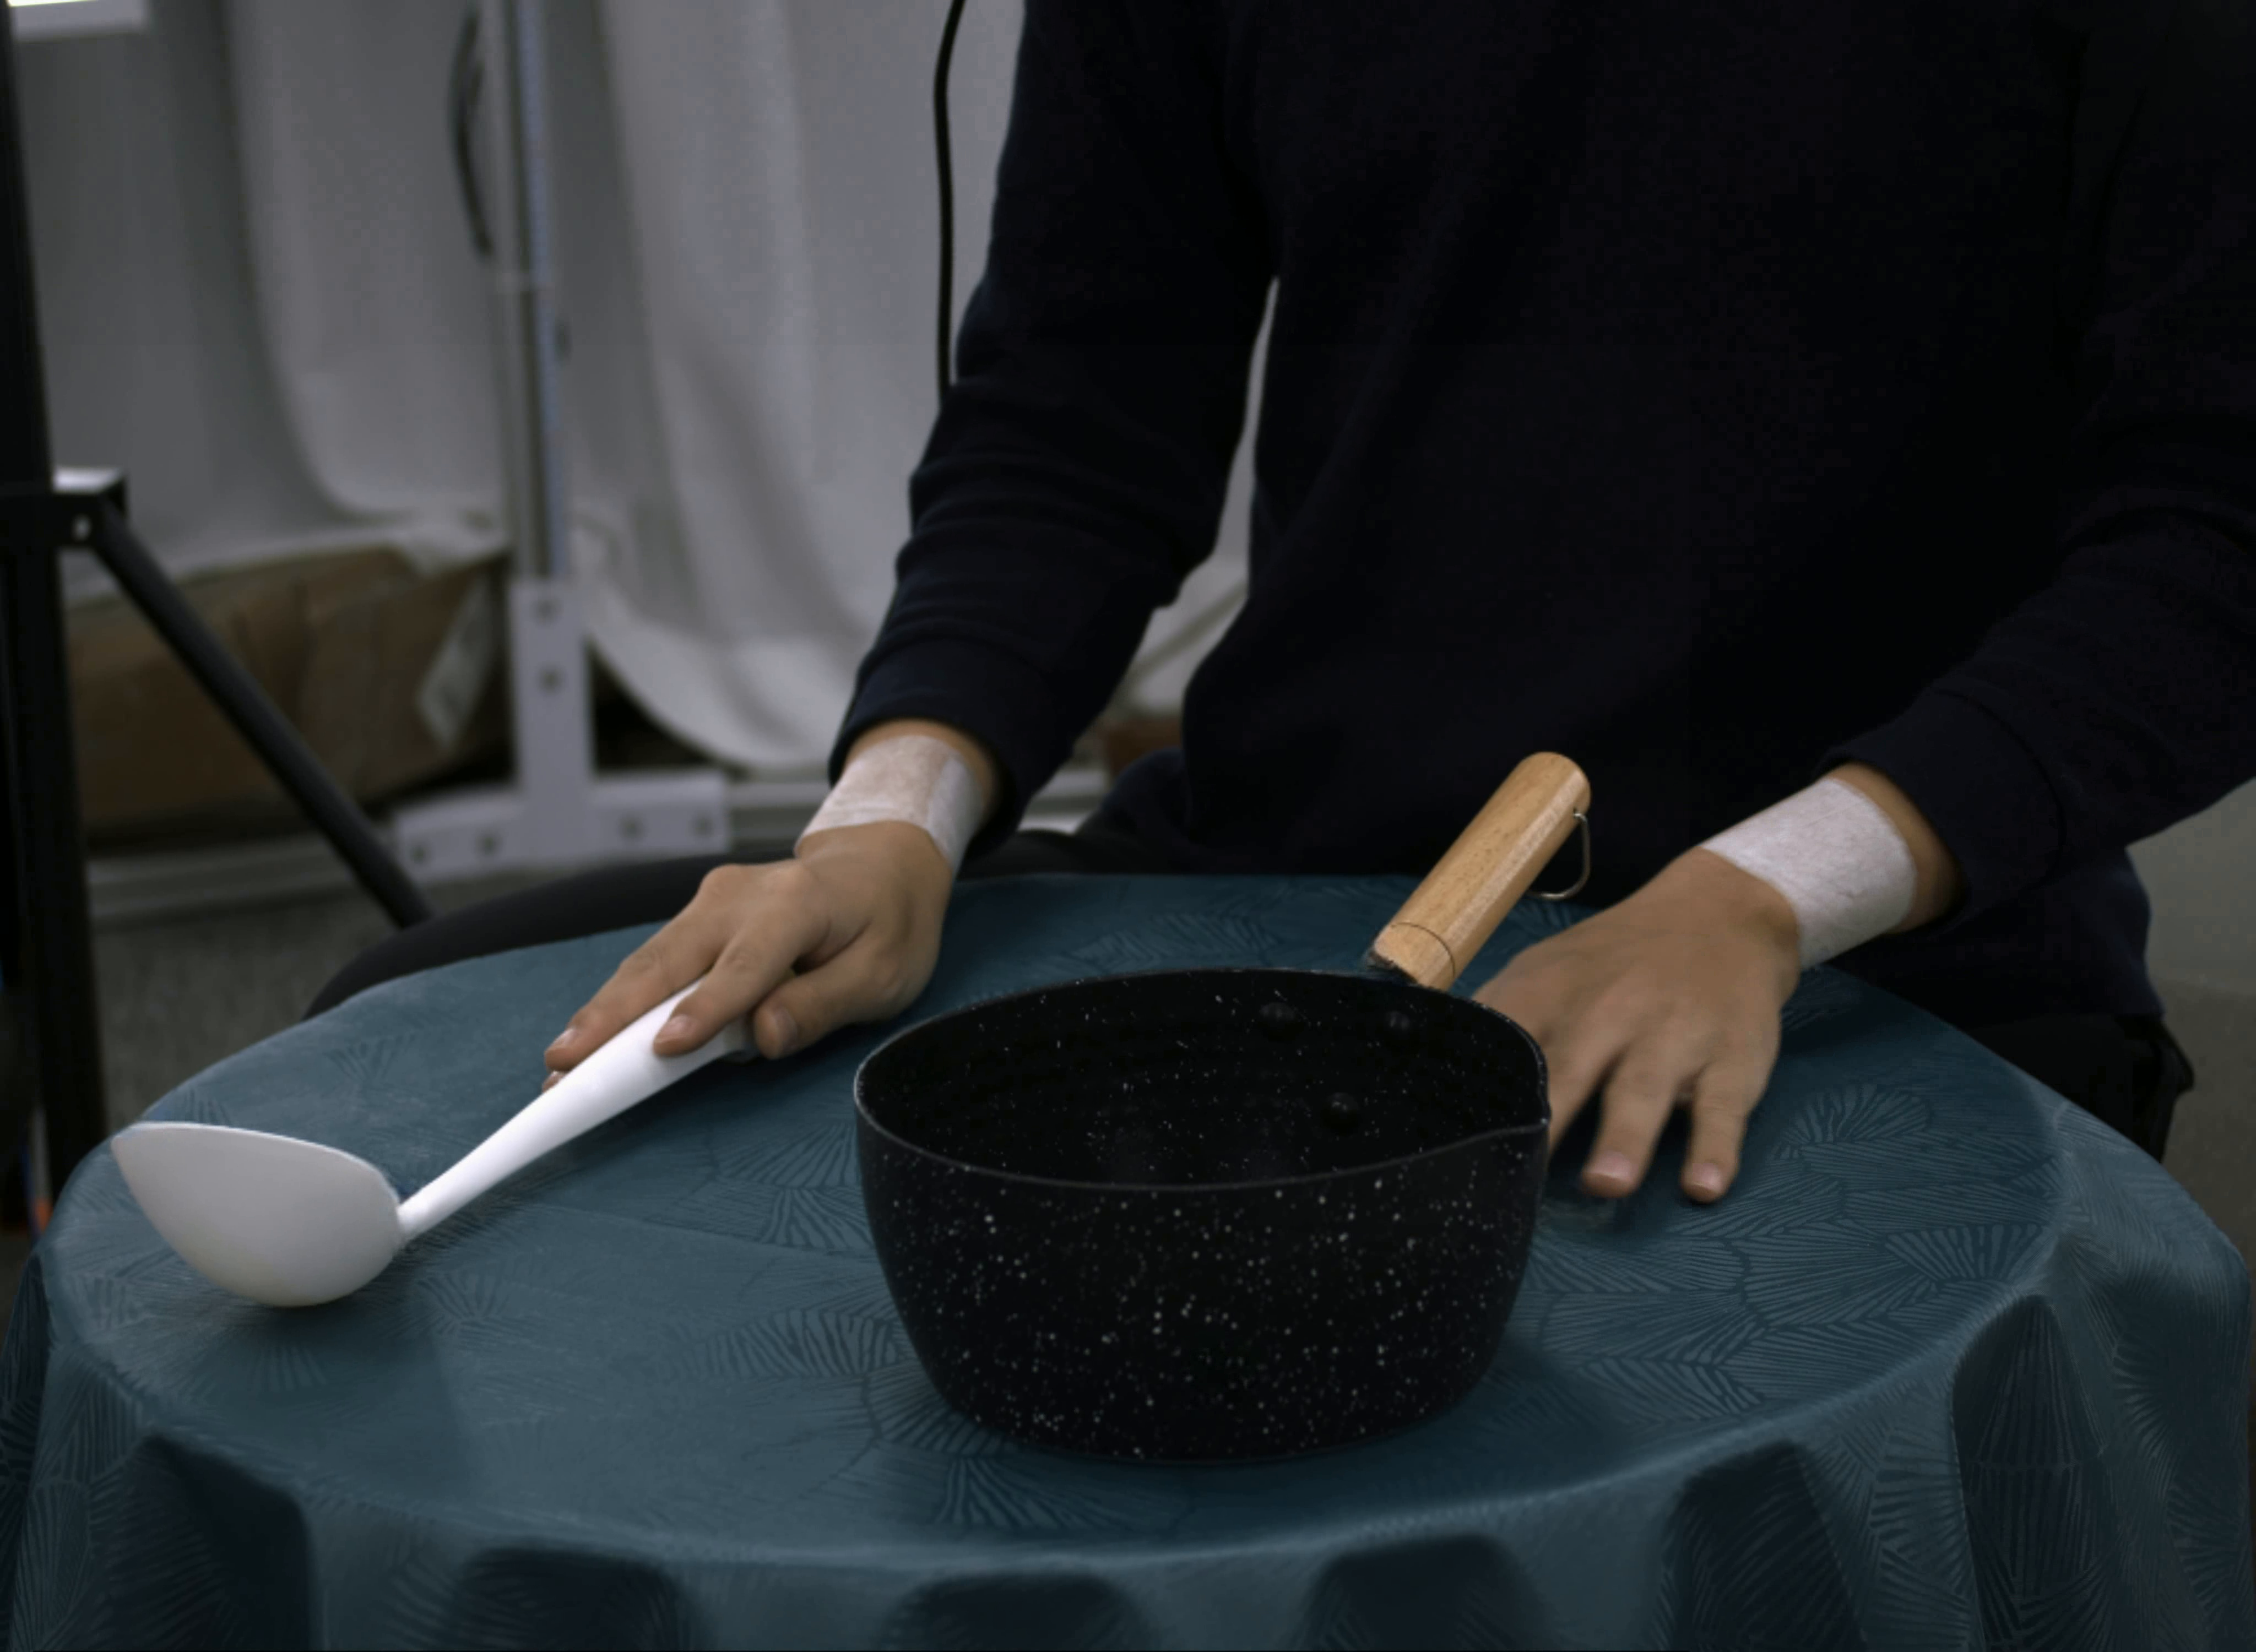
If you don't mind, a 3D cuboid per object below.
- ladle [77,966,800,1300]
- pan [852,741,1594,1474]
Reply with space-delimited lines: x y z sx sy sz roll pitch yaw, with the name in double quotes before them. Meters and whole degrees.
"ladle" -0.193 0.076 1.588 0.091 0.070 0.288 -11 8 33
"pan" 0.055 0.073 1.475 0.211 0.108 0.337 4 18 27
